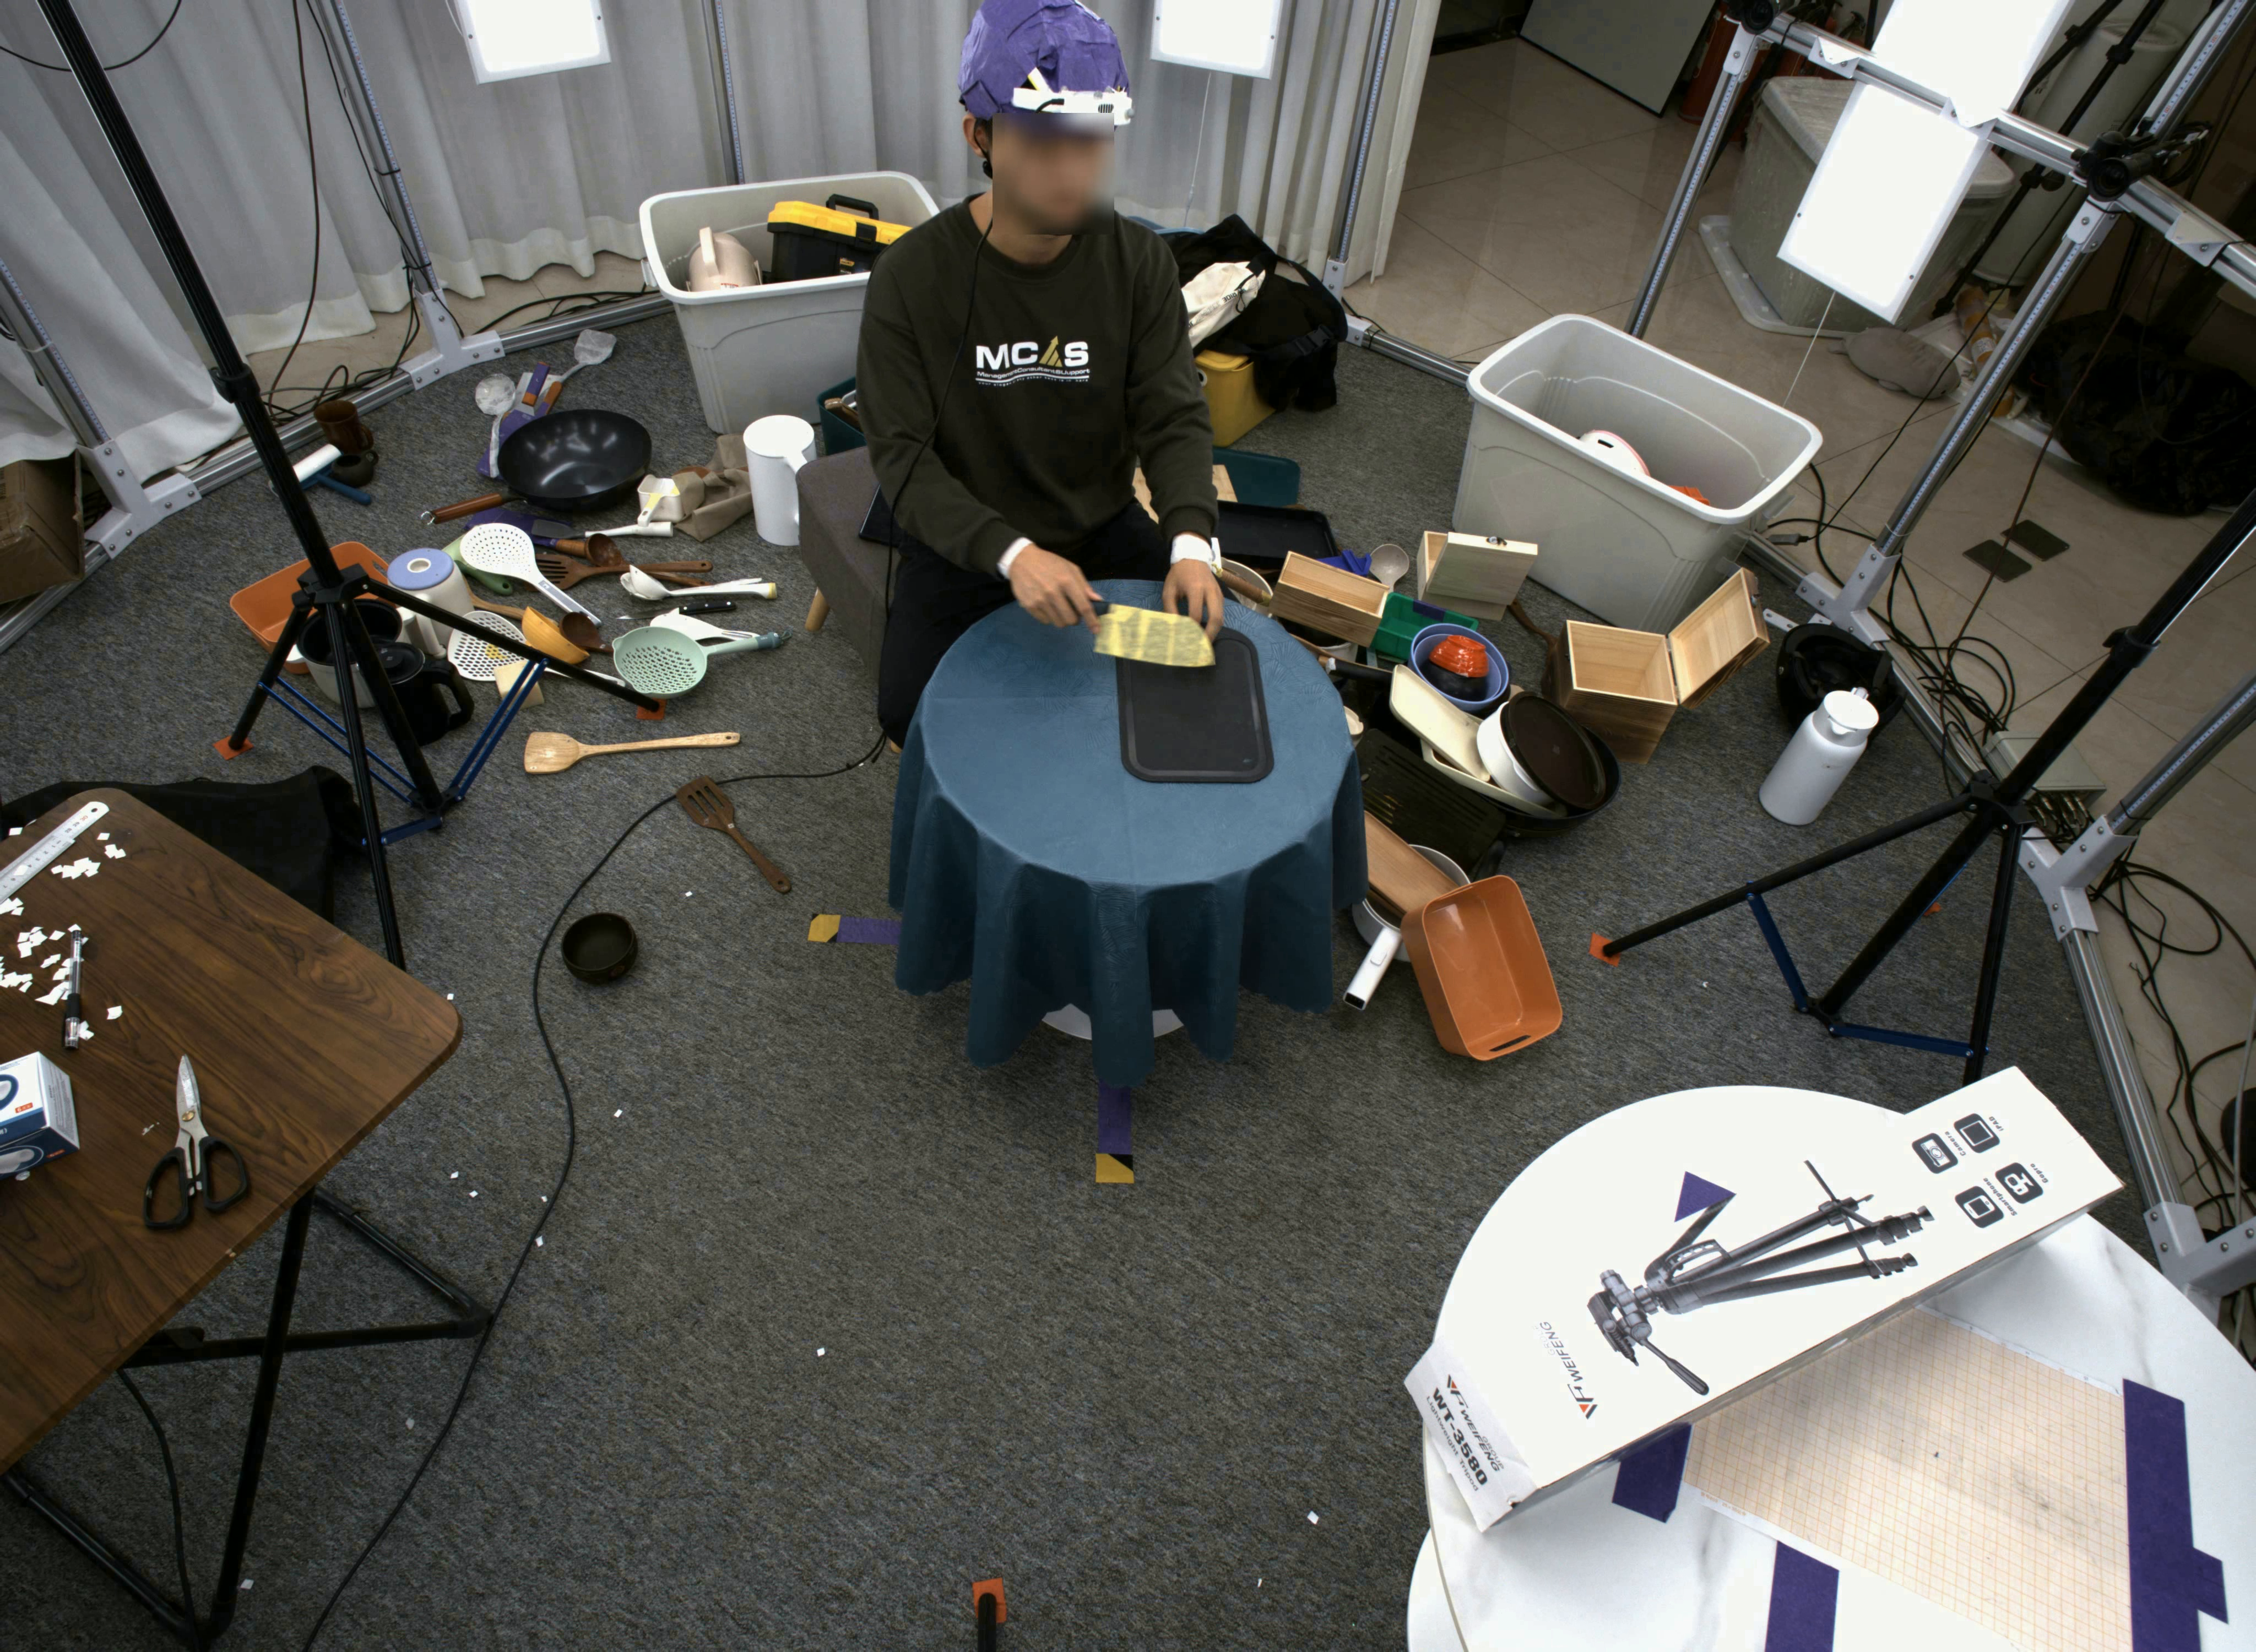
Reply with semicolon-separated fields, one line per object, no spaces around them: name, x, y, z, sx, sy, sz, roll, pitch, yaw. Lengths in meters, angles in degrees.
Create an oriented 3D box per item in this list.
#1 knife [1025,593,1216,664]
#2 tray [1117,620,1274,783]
knife;-0.012;-0.282;1.827;0.291;0.080;0.027;15;17;13
tray;0.091;-0.186;1.829;0.211;0.009;0.333;0;49;-4
